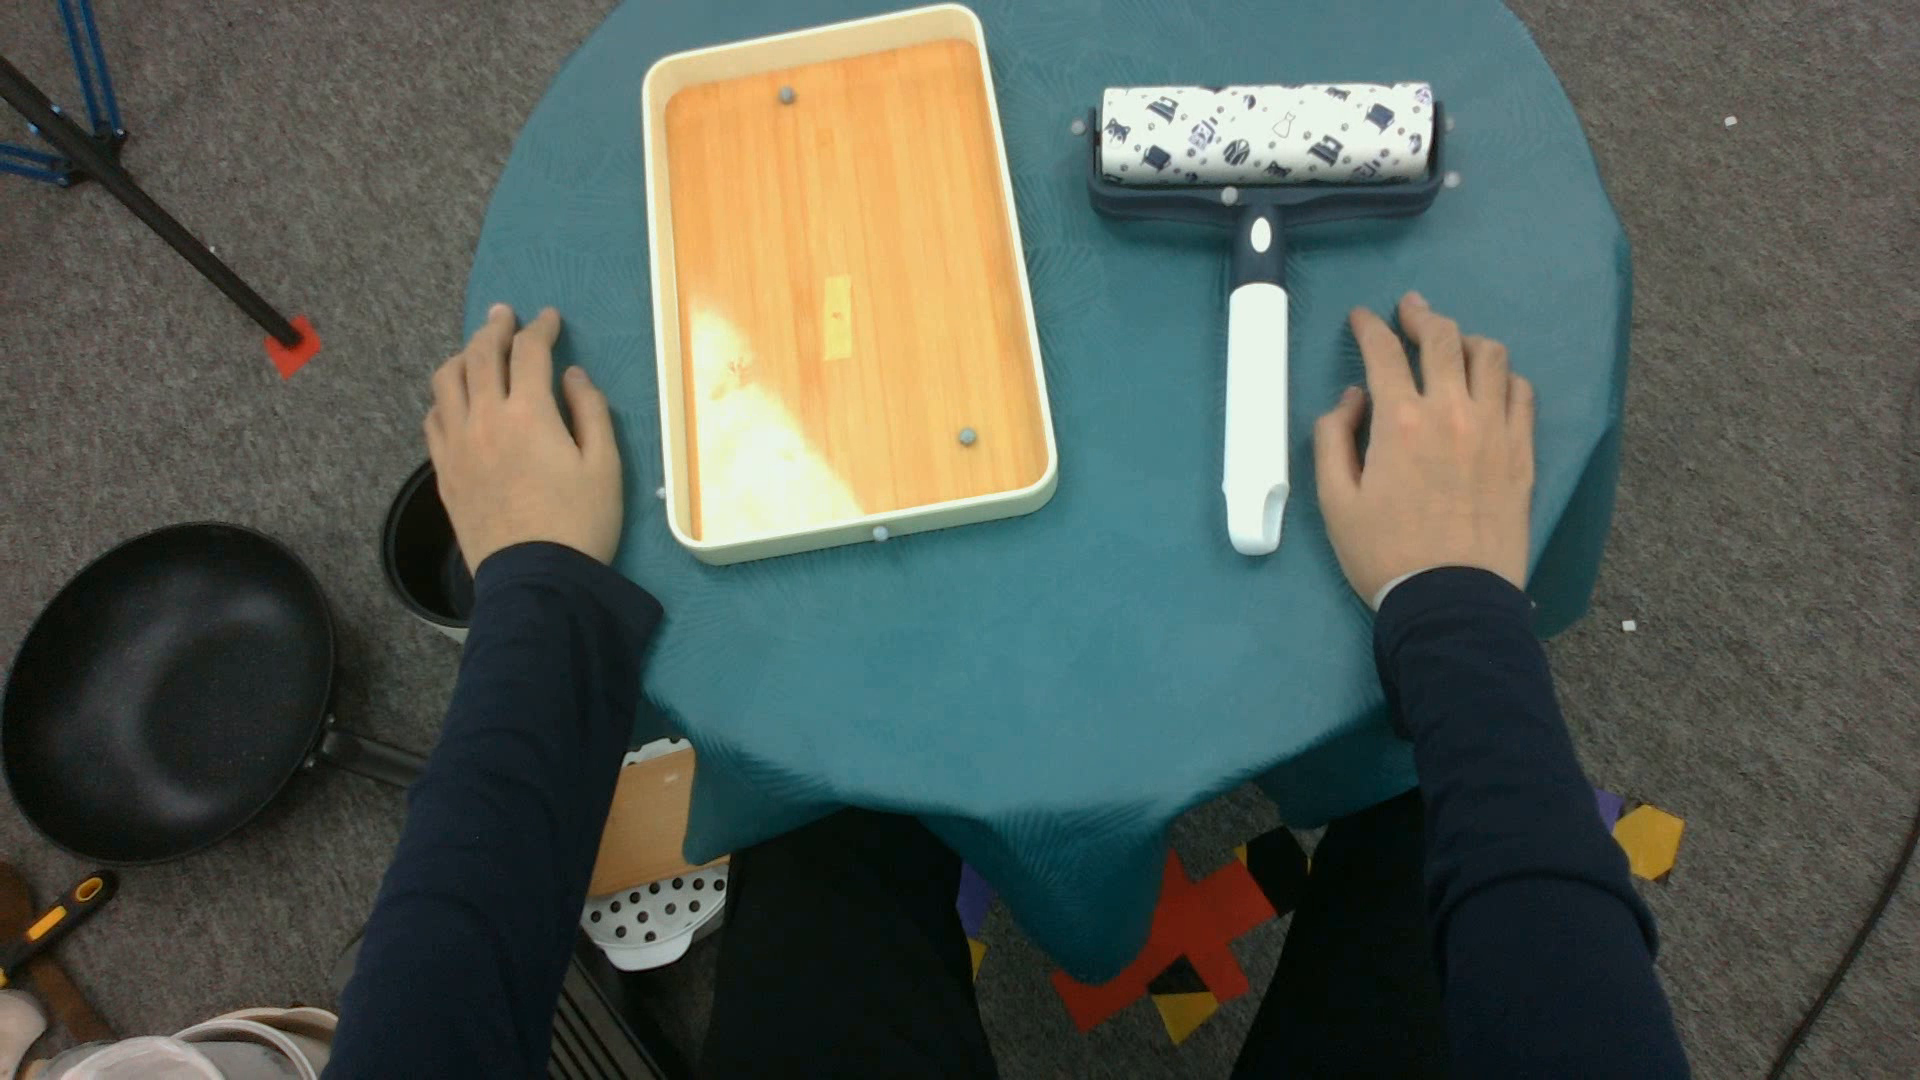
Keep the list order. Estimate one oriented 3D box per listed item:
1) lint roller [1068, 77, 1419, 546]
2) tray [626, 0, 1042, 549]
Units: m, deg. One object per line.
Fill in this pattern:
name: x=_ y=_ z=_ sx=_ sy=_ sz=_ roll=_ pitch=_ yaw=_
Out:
lint roller: x=0.138 y=-0.119 z=0.671 sx=0.176 sy=0.050 sz=0.248 roll=1 pitch=70 yaw=6
tray: x=-0.071 y=-0.148 z=0.714 sx=0.191 sy=0.027 sz=0.301 roll=-9 pitch=67 yaw=2
